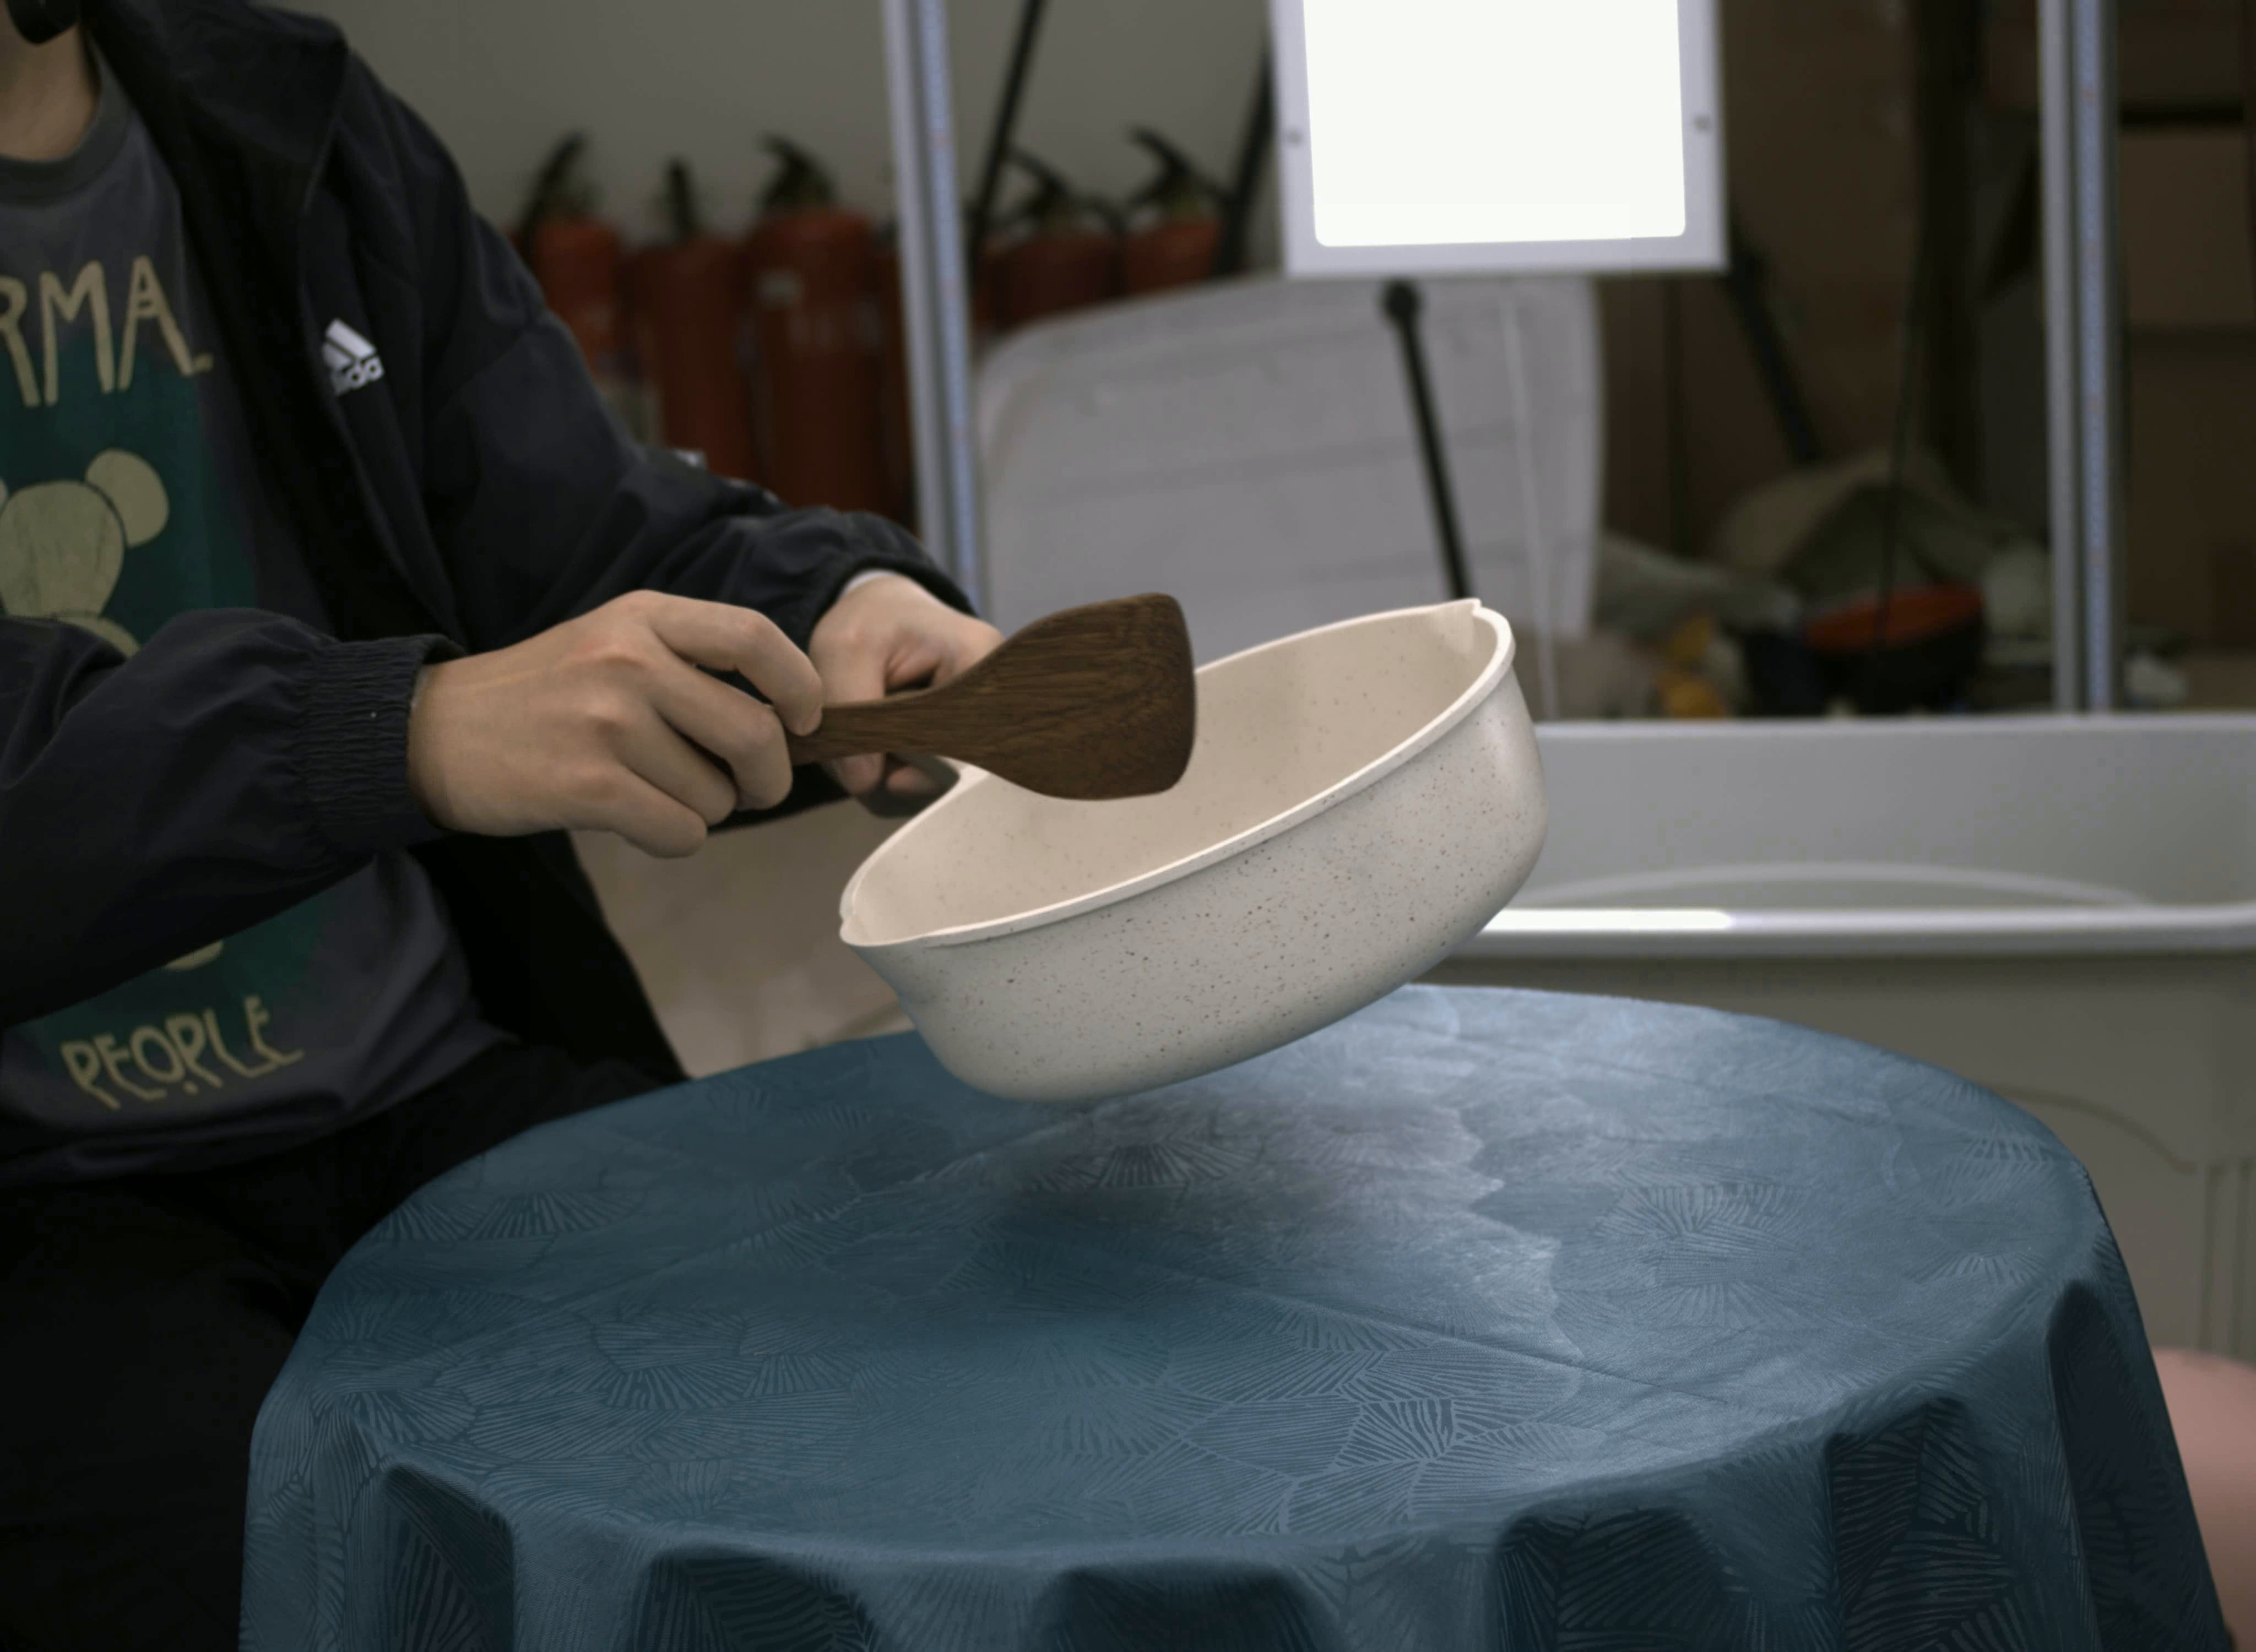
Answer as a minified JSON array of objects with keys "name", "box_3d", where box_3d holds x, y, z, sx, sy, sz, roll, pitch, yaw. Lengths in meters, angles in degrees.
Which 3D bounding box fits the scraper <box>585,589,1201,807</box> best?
[{"name":"scraper","box_3d":[-0.079,-0.033,1.871,0.211,0.076,0.011,-7,23,1]}]

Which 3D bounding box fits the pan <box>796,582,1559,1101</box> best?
[{"name":"pan","box_3d":[-0.009,0.001,1.978,0.259,0.102,0.442,-31,15,-20]}]
